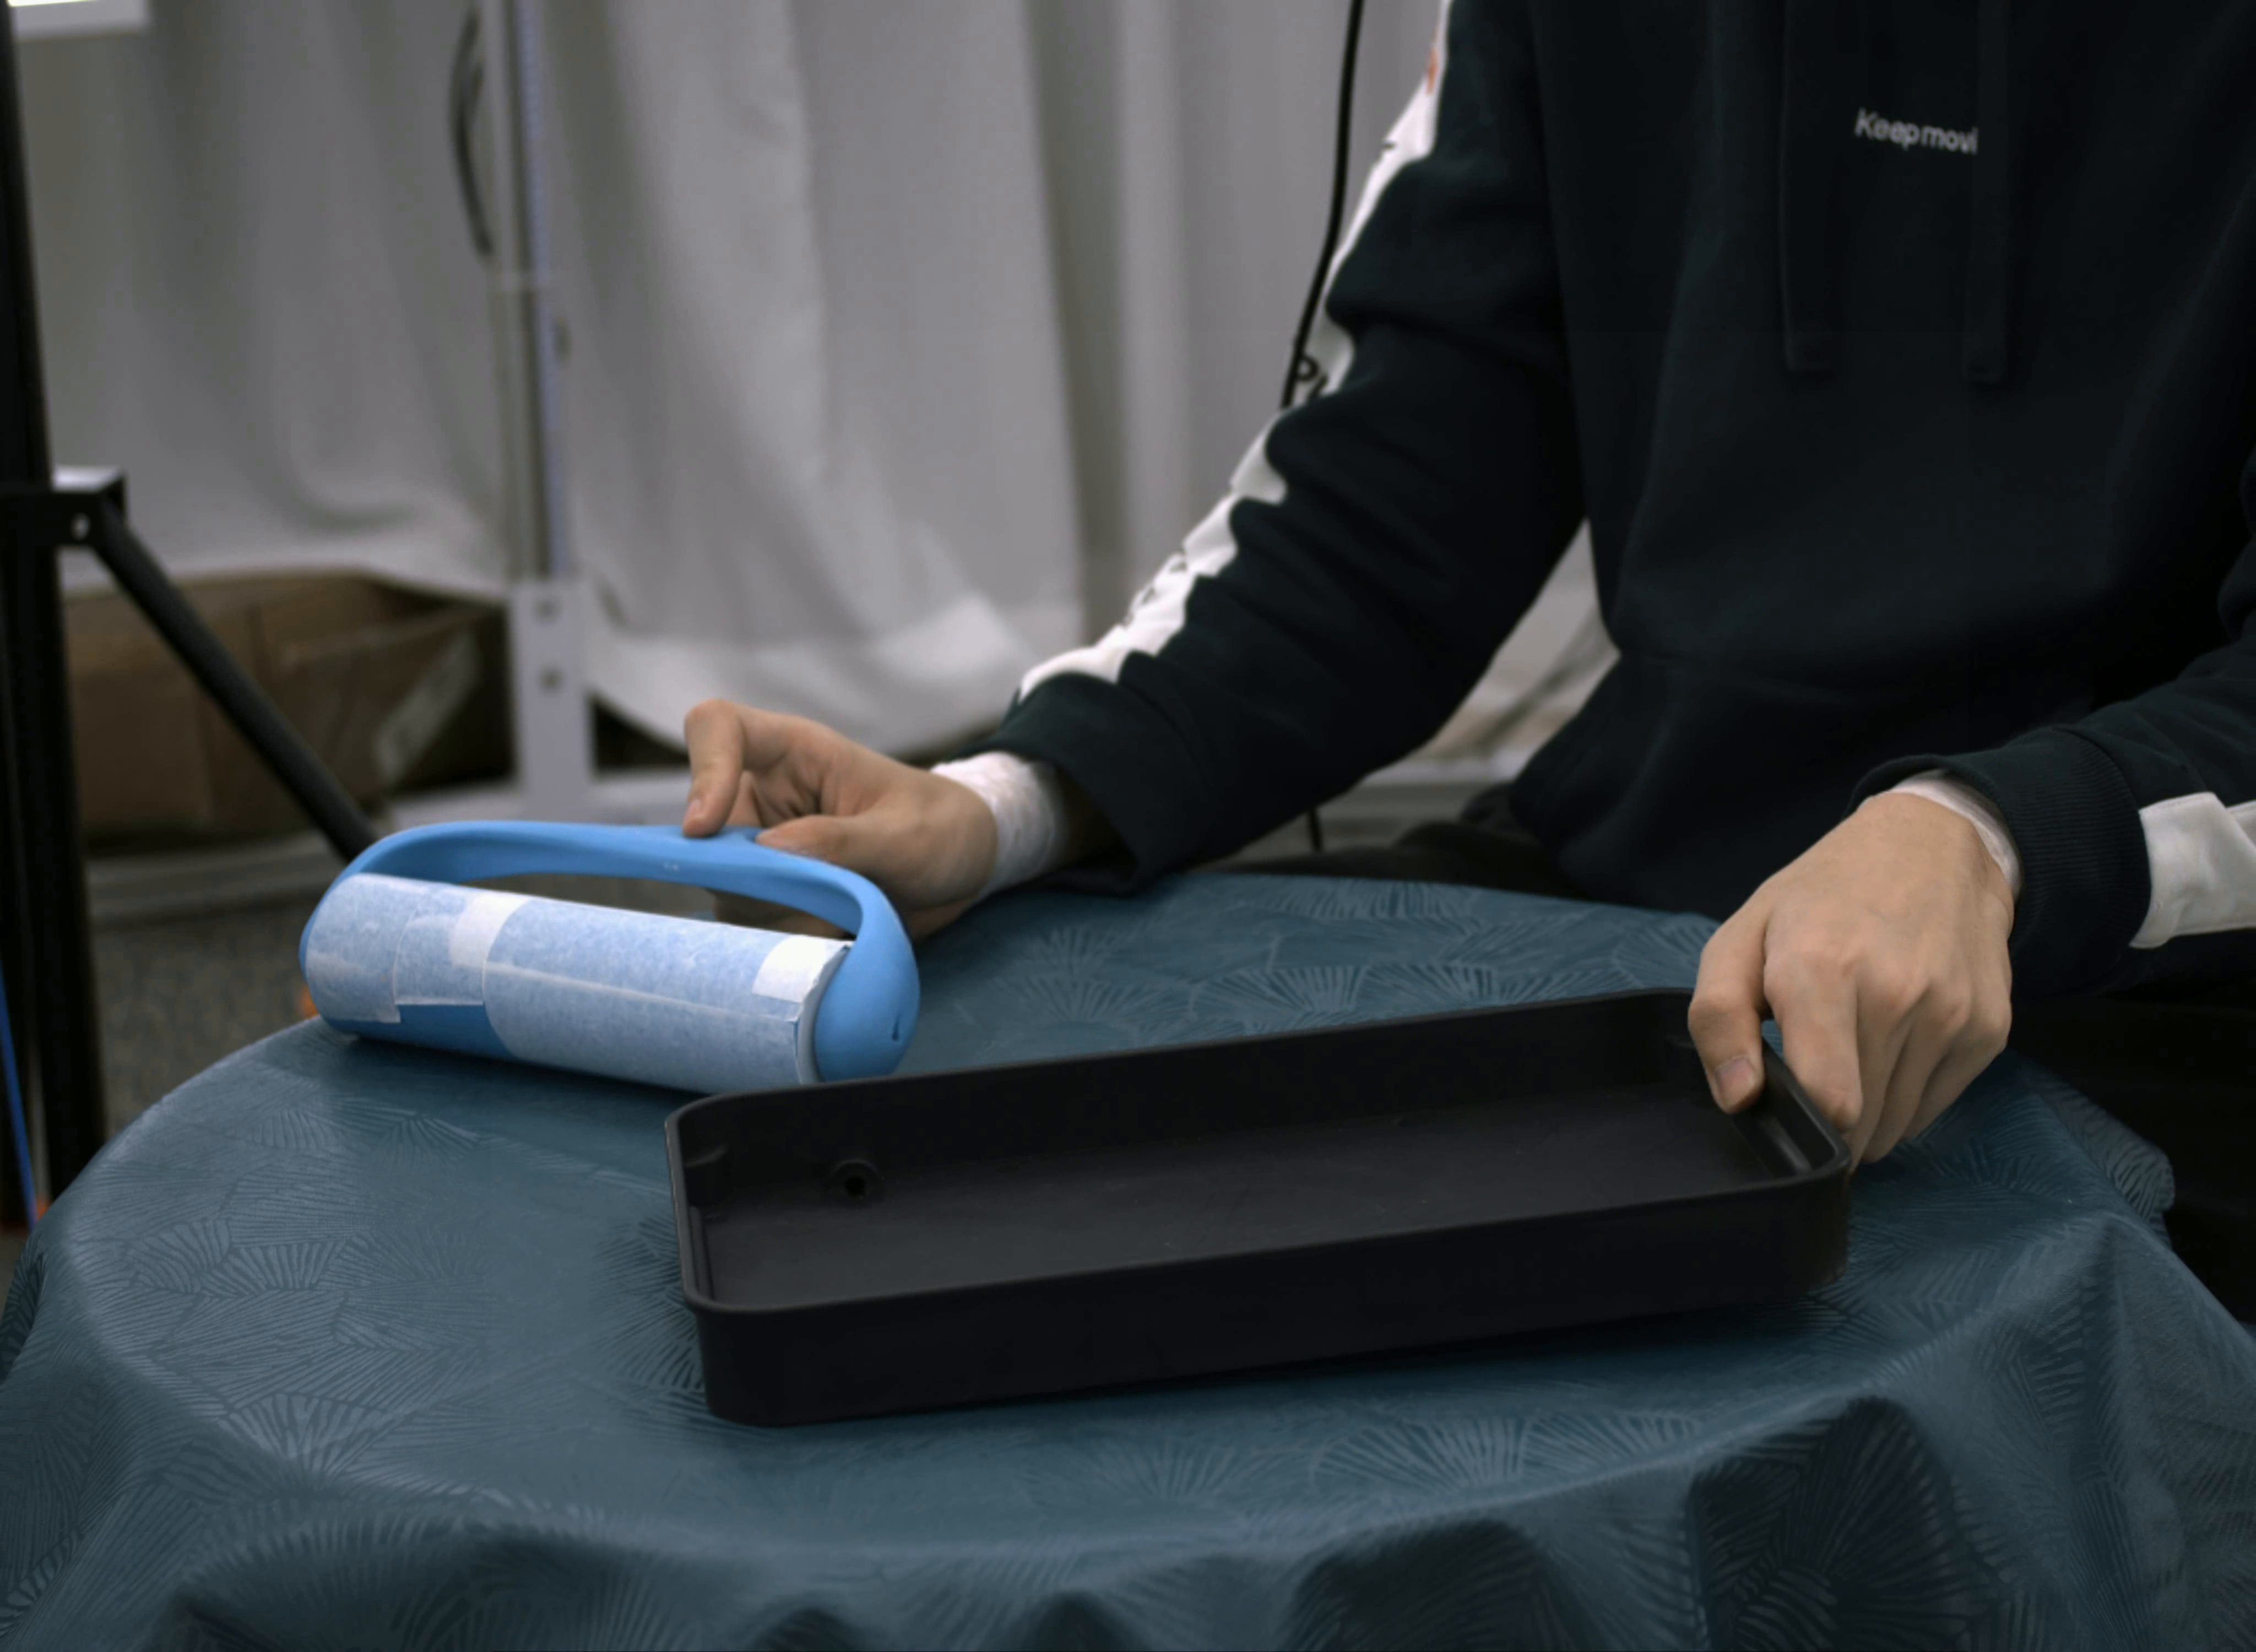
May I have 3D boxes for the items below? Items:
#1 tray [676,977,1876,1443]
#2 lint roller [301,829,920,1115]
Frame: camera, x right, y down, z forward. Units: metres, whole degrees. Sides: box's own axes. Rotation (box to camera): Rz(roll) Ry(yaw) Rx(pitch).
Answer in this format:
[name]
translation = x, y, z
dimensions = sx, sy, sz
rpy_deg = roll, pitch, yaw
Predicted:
[tray]
translation = 0.037, 0.104, 1.482
dimensions = 0.315, 0.037, 0.186
rpy_deg = -8, 16, -5
[lint roller]
translation = -0.139, 0.033, 1.731
dimensions = 0.233, 0.068, 0.177
rpy_deg = 4, 21, 30
